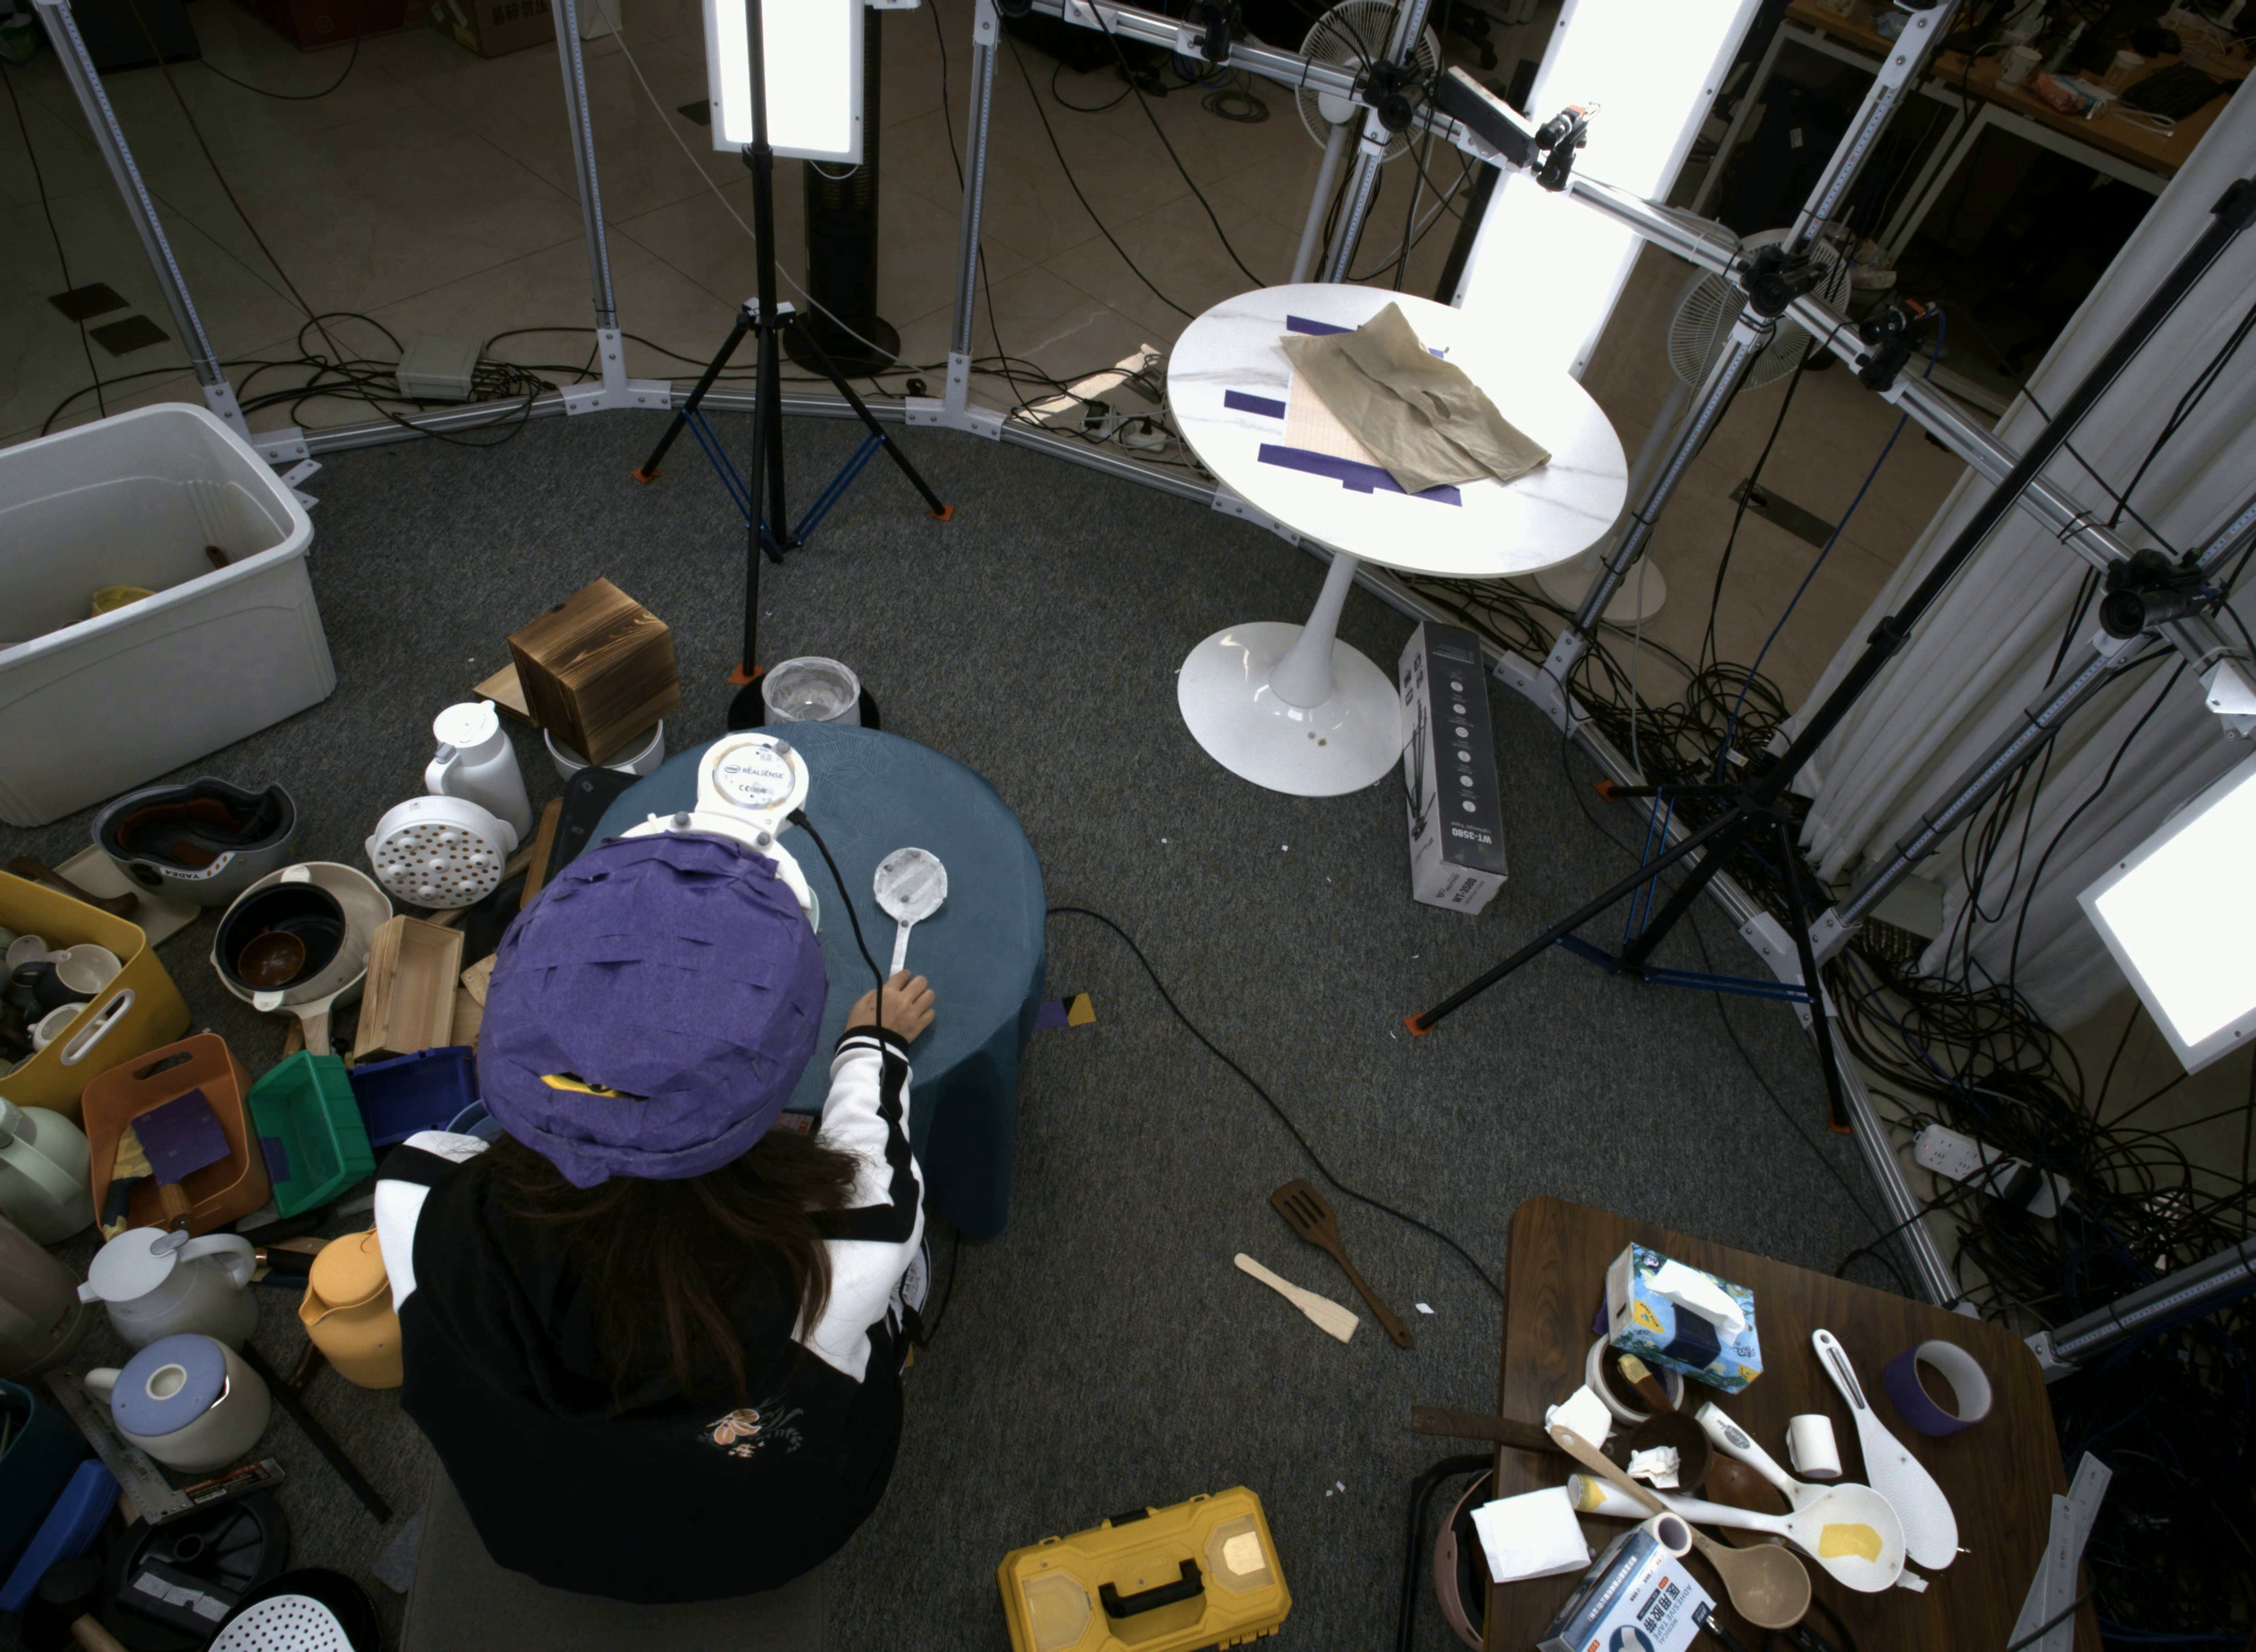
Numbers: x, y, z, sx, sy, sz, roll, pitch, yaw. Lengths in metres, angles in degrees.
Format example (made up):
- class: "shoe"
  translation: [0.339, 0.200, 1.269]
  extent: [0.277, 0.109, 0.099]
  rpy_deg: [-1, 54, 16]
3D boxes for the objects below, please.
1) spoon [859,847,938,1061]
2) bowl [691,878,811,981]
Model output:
- class: "spoon"
  translation: [-0.302, 0.150, 1.602]
  extent: [0.100, 0.061, 0.273]
  rpy_deg: [8, 52, -1]
- class: "bowl"
  translation: [-0.457, 0.134, 1.577]
  extent: [0.151, 0.060, 0.149]
  rpy_deg: [8, 52, -8]
